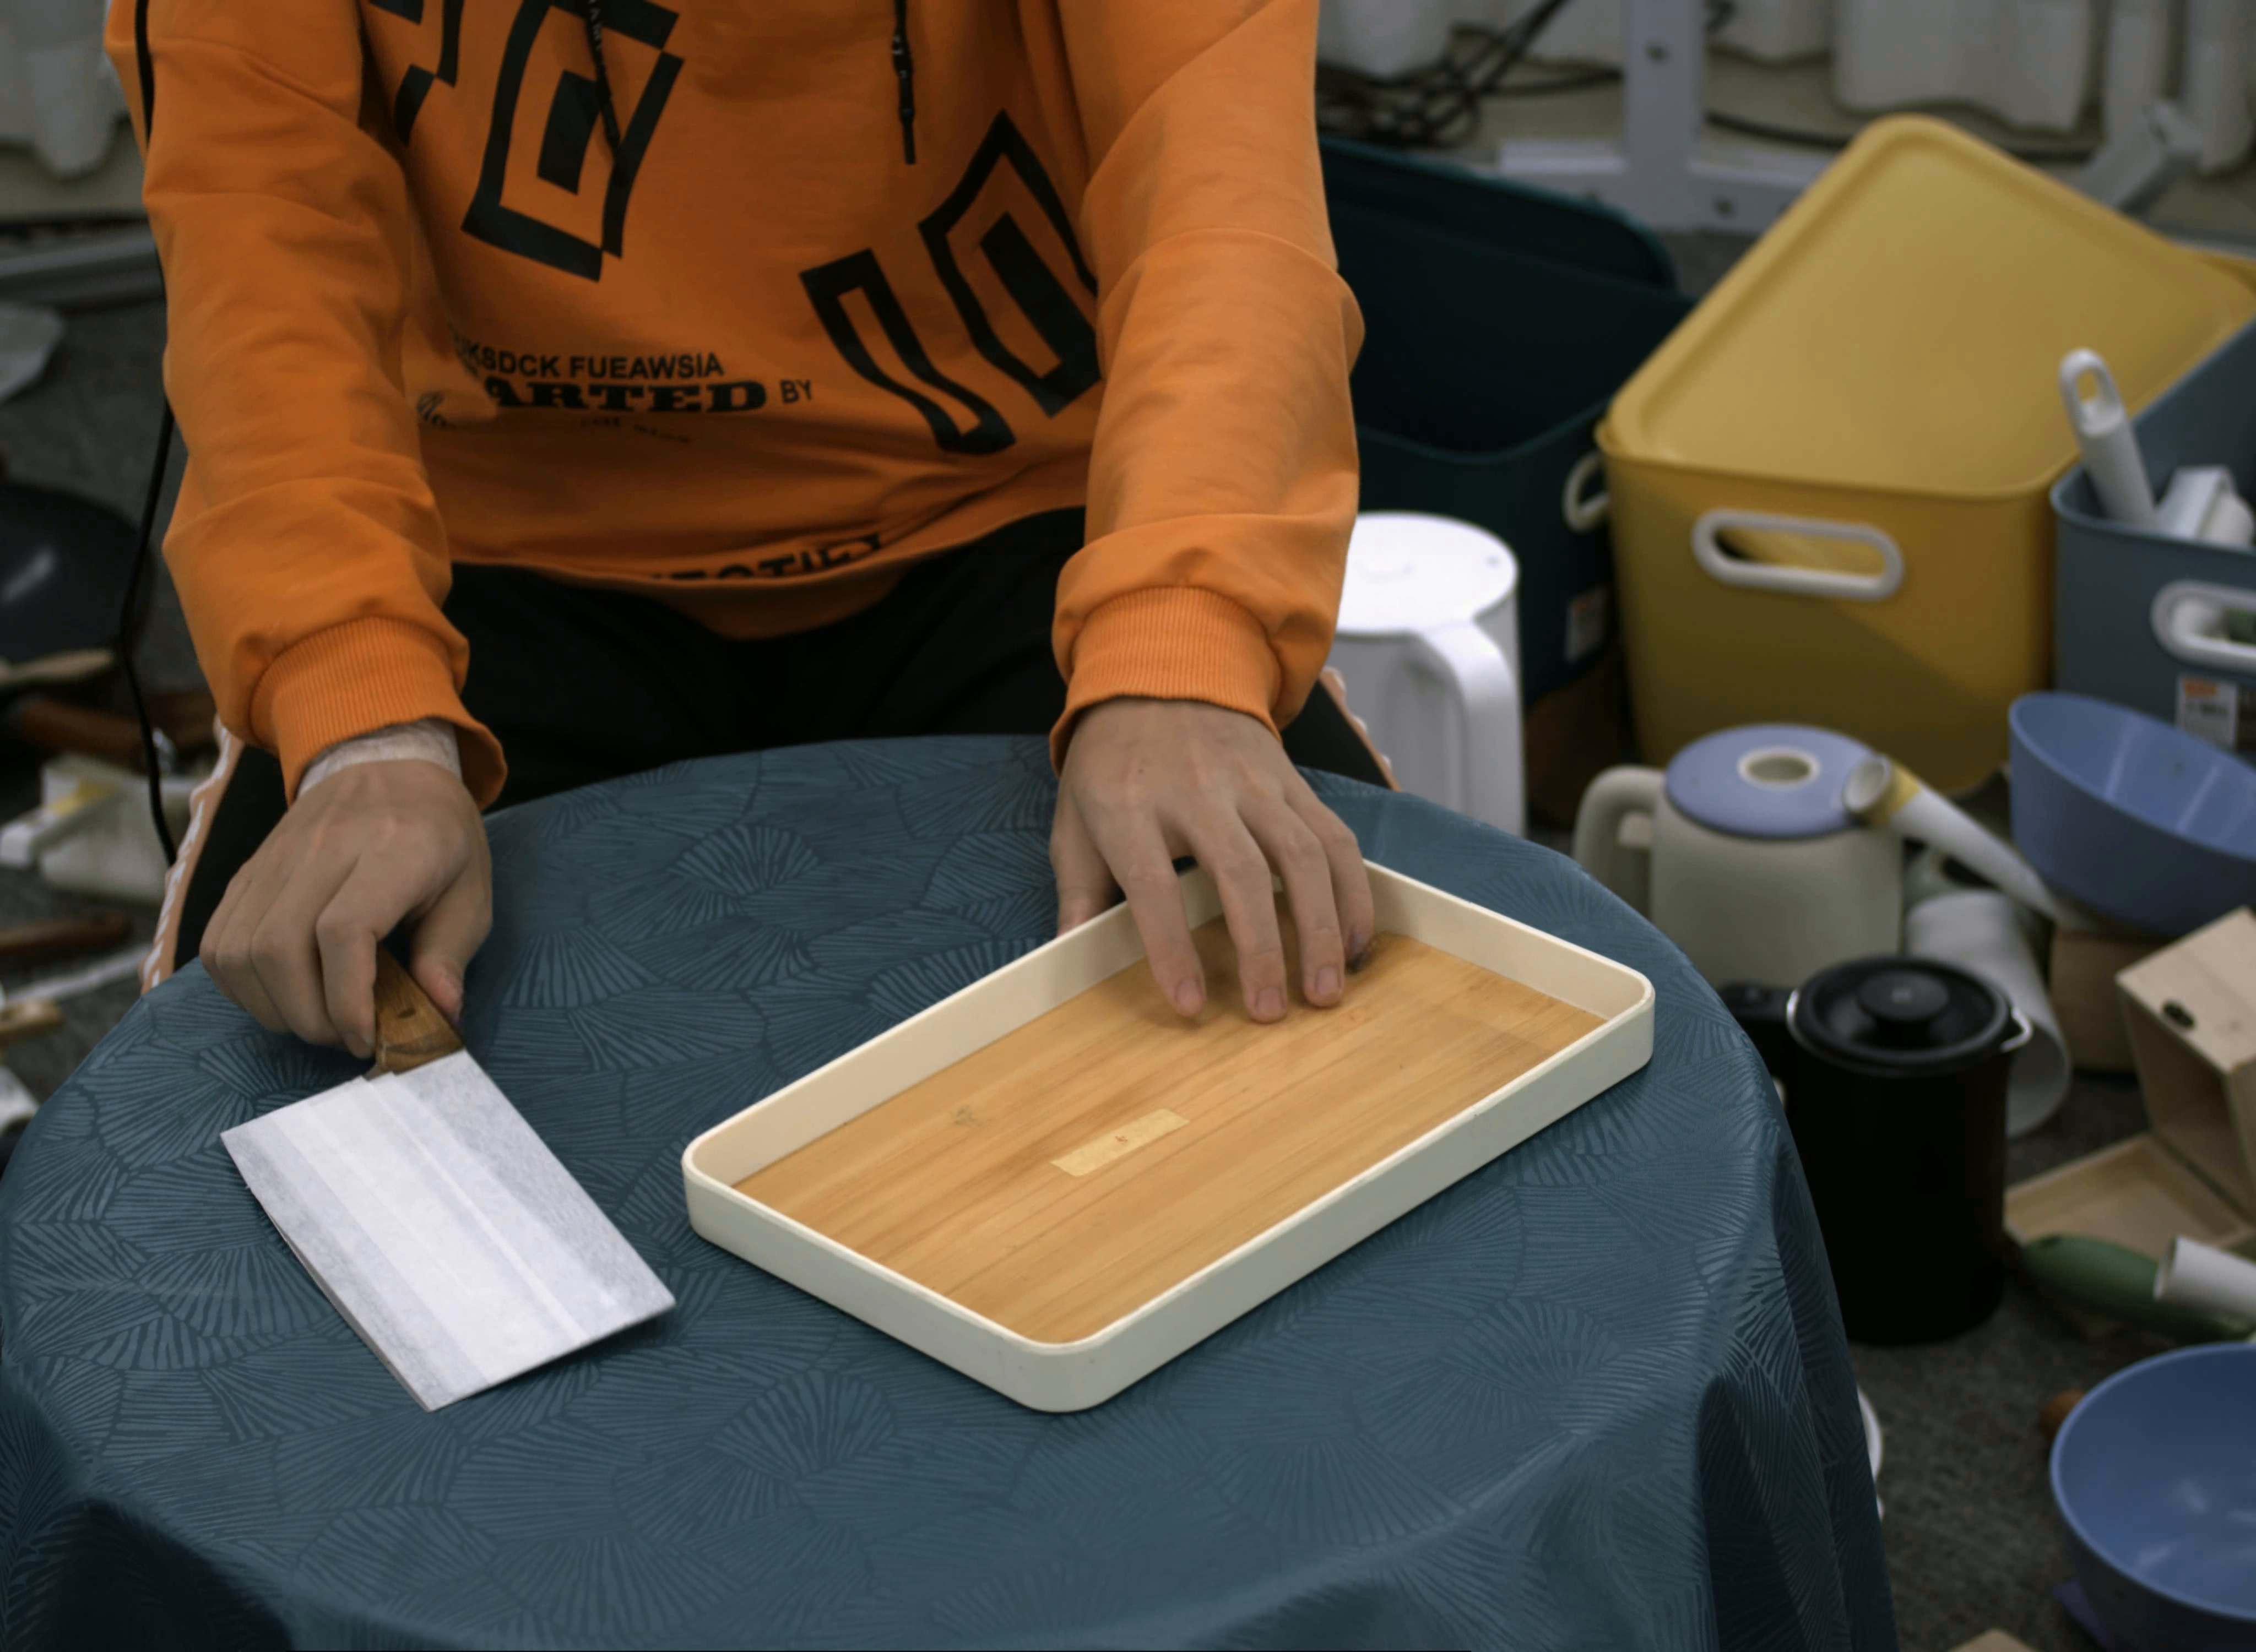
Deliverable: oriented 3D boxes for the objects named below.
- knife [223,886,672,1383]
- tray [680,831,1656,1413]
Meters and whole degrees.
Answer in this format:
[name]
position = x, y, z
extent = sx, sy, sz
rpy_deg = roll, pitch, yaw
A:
[knife]
position = -0.252, 0.104, 1.897
extent = 0.093, 0.021, 0.307
rpy_deg = -24, 34, -19
[tray]
position = 0.017, 0.093, 1.885
extent = 0.191, 0.027, 0.304
rpy_deg = 23, 37, 39
